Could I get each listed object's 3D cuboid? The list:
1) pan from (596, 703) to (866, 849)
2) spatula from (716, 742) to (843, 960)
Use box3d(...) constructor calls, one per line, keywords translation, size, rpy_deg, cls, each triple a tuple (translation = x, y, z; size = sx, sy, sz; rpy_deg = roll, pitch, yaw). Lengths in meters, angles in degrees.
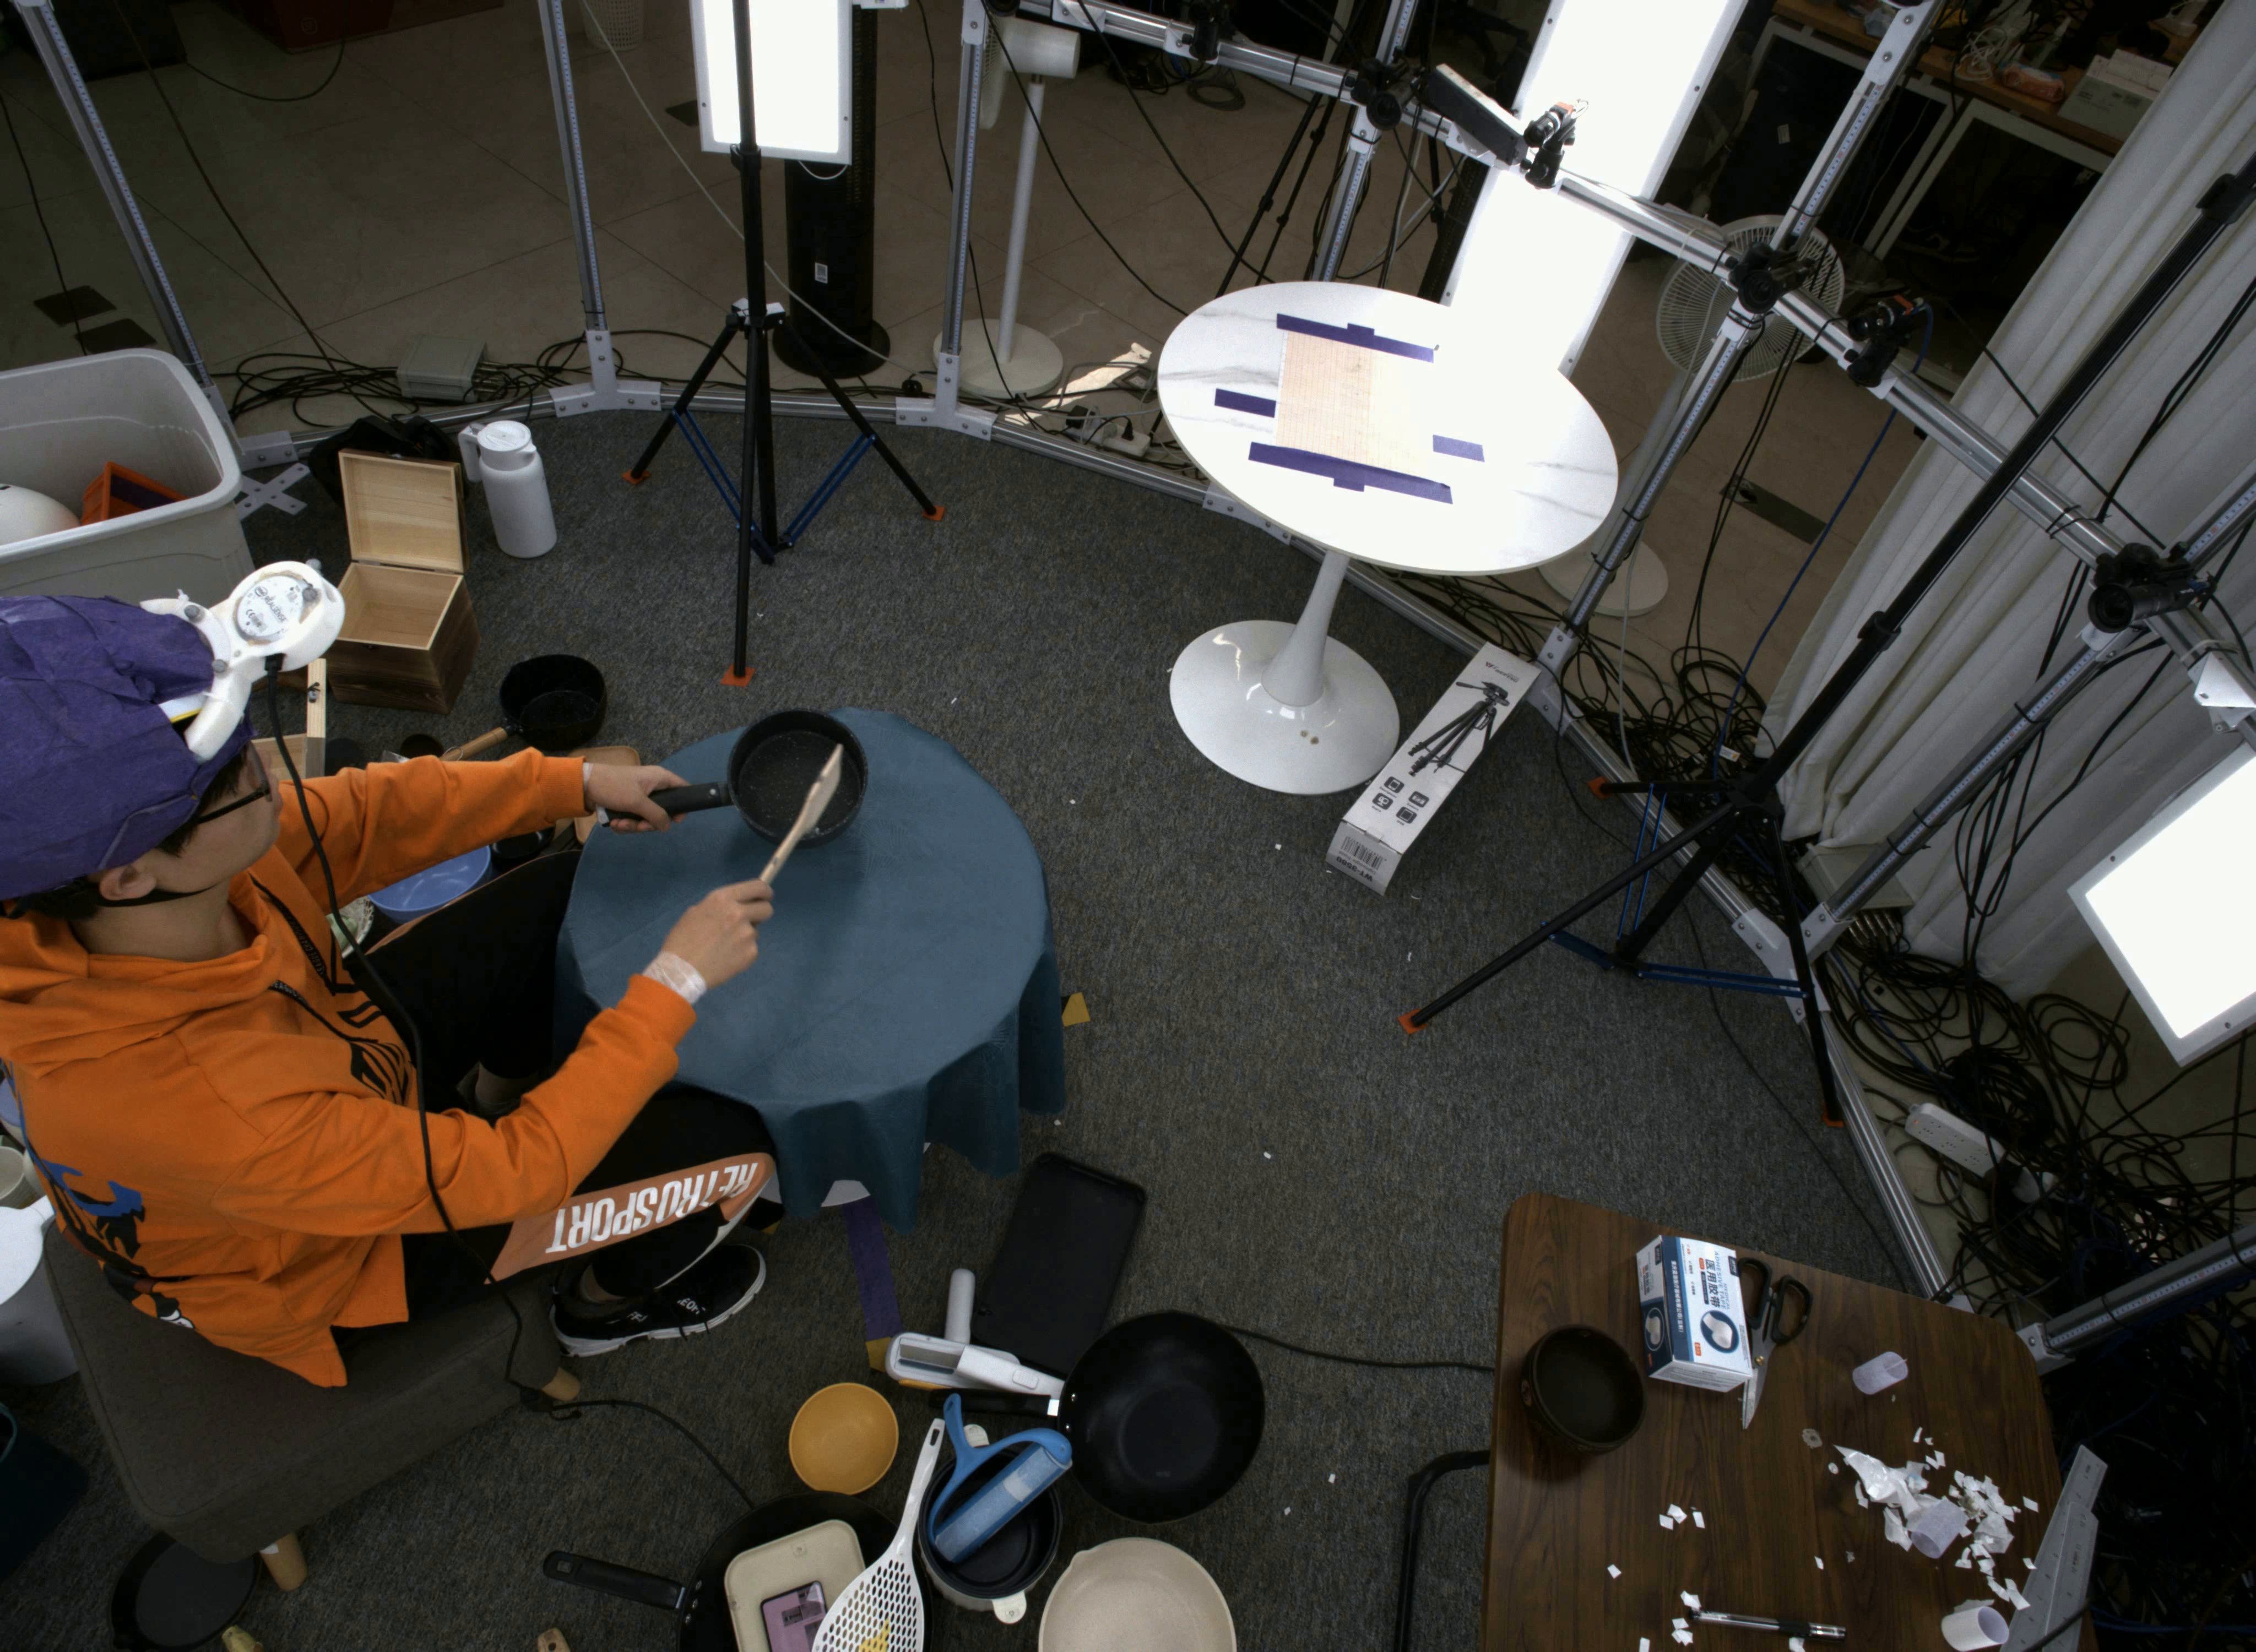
box3d(translation=(-0.491, -0.046, 1.602), size=(0.329, 0.086, 0.172), rpy_deg=(-10, 78, -18), cls="pan")
box3d(translation=(-0.384, 0.027, 1.445), size=(0.010, 0.073, 0.290), rpy_deg=(25, 55, -1), cls="spatula")
